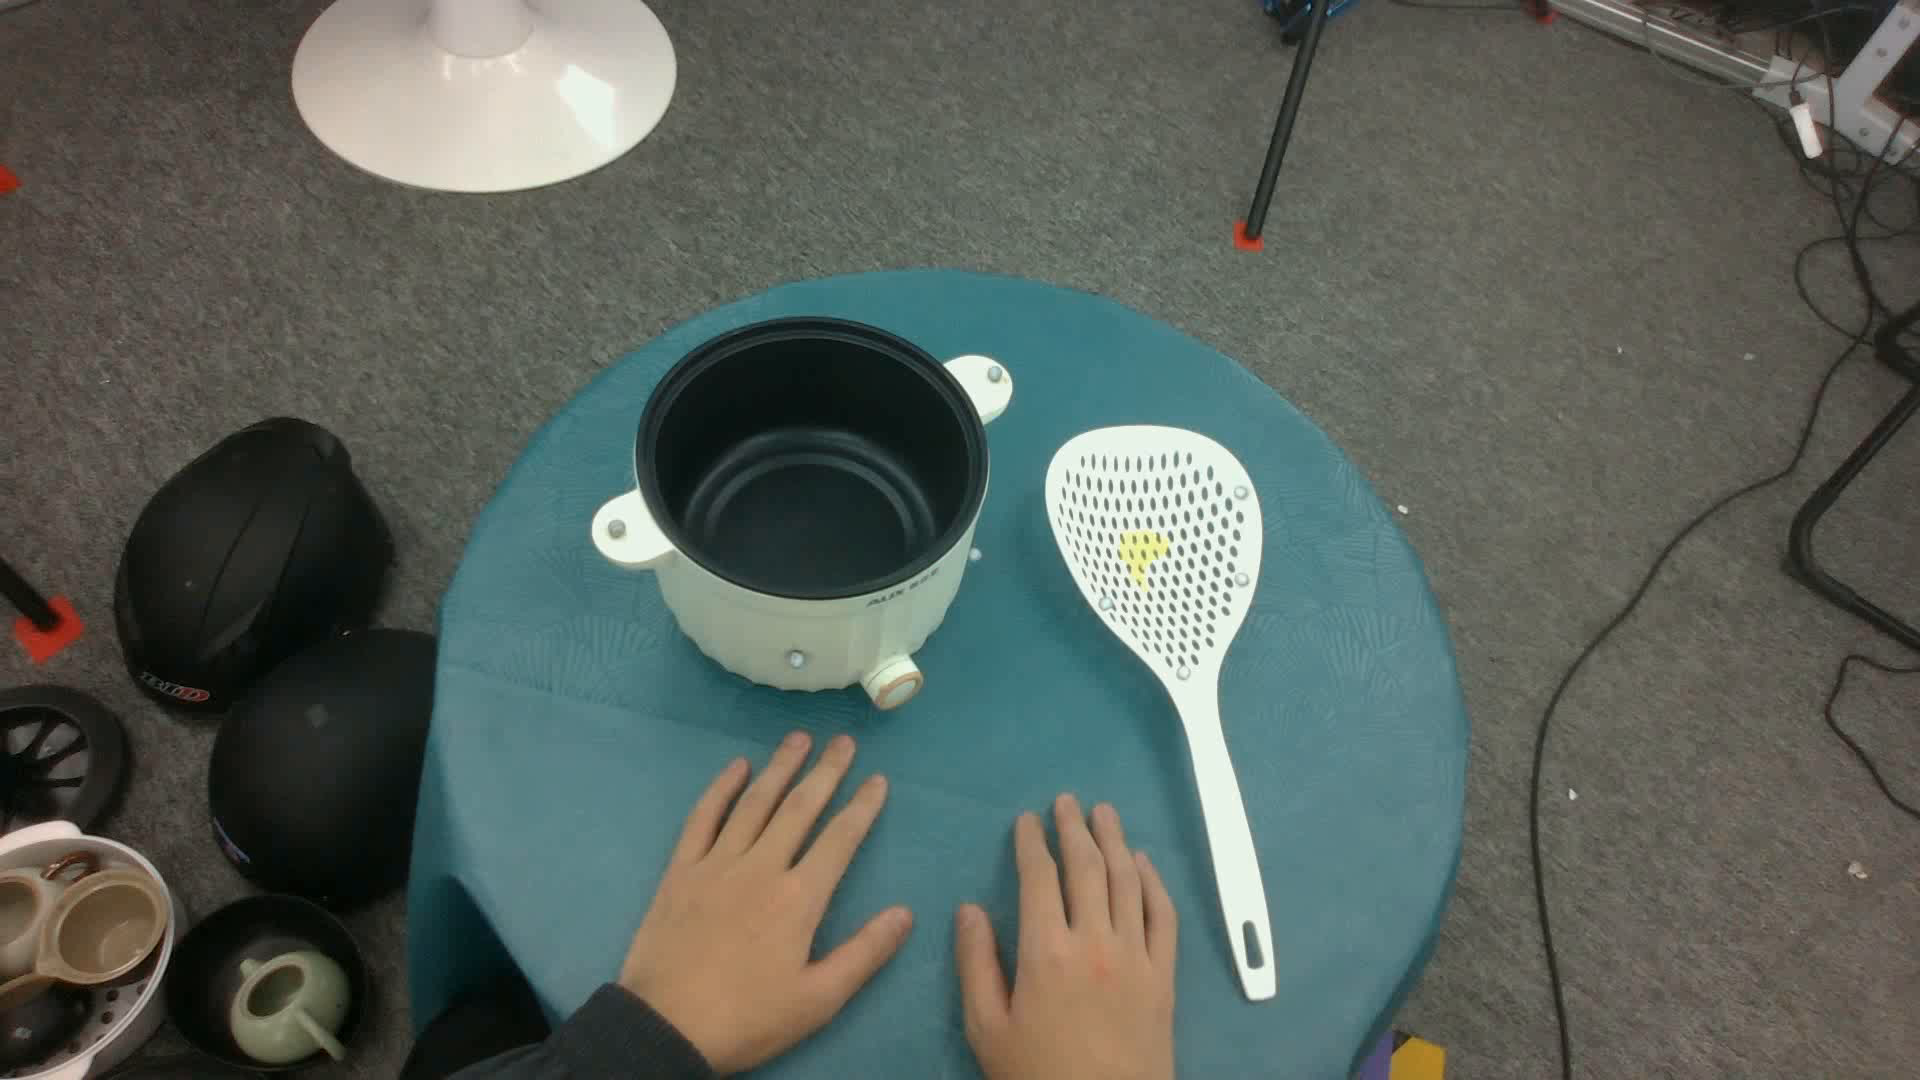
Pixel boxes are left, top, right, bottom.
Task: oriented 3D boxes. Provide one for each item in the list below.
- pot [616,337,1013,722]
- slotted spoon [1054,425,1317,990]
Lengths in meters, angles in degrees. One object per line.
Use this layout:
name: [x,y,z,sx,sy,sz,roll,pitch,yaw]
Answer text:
pot: [-0.071,0.002,0.775,0.241,0.142,0.191,-29,60,-21]
slotted spoon: [0.144,0.081,0.798,0.137,0.050,0.349,-5,56,-11]
